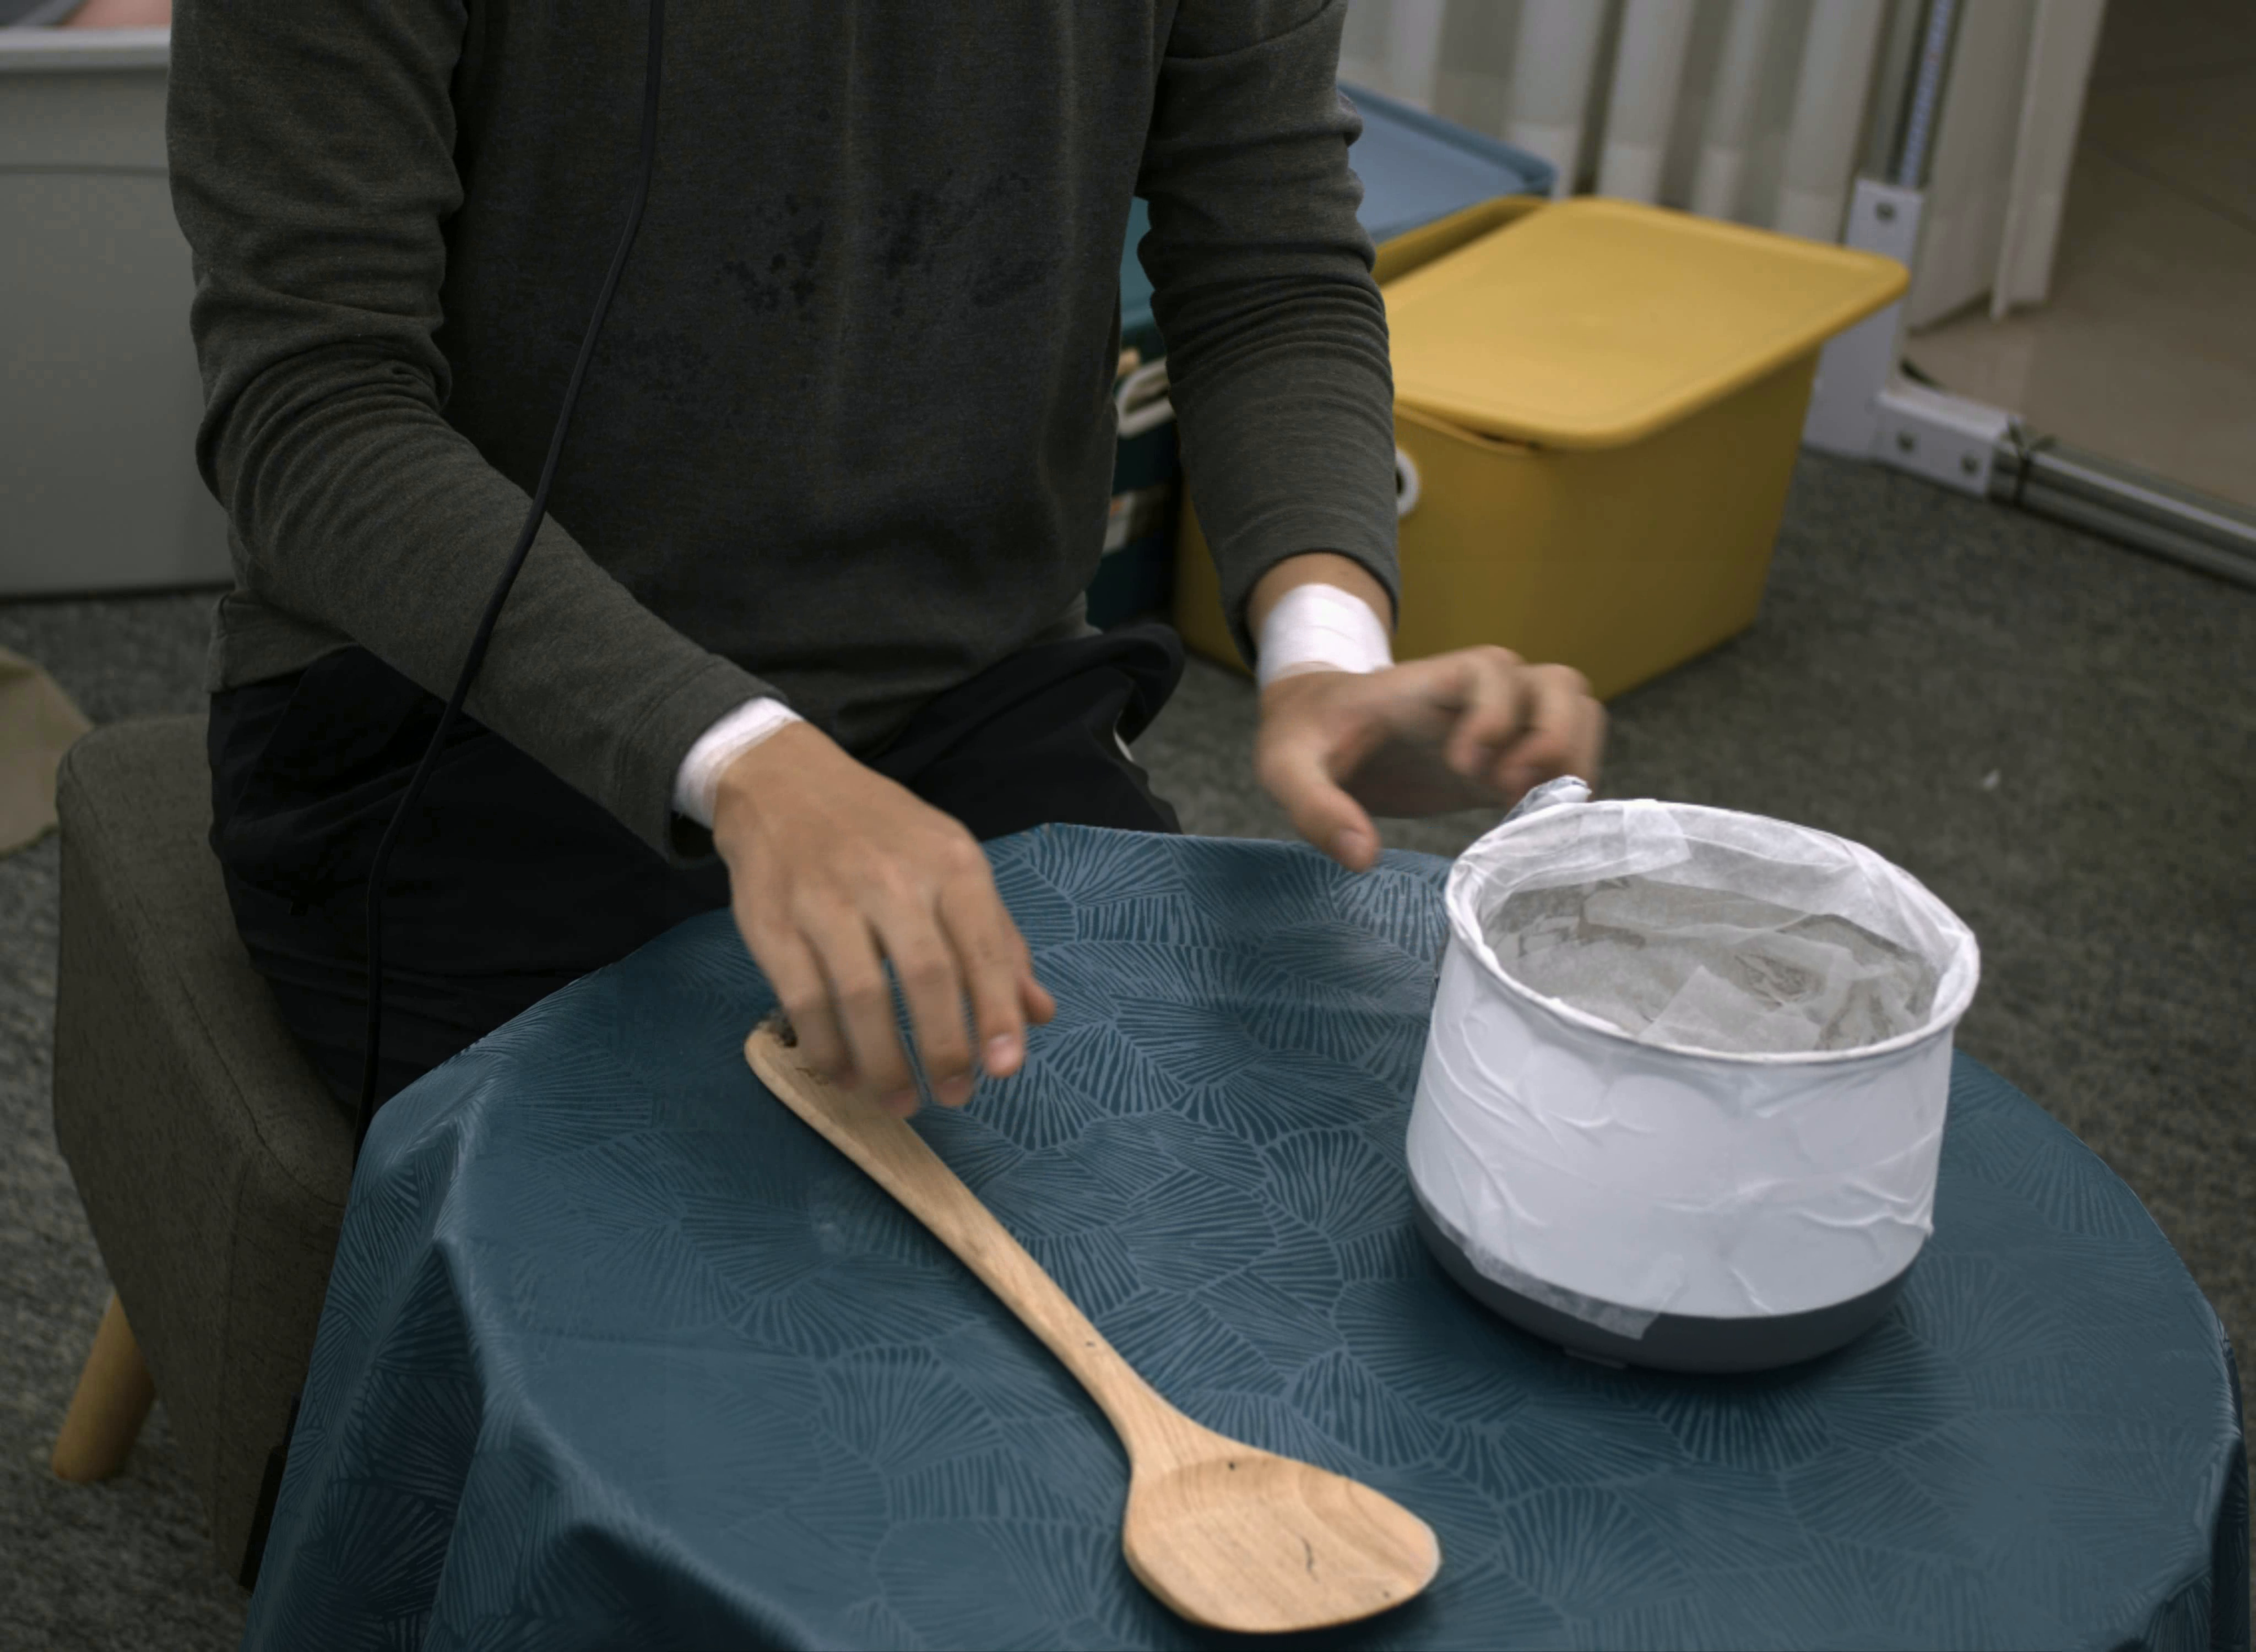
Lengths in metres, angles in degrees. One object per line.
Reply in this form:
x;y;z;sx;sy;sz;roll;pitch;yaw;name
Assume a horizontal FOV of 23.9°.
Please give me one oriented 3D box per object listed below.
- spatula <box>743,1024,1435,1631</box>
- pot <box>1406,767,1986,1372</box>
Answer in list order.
-0.035;0.154;1.718;0.095;0.018;0.394;-8;30;-30;spatula
0.173;0.074;1.788;0.177;0.136;0.236;-6;30;-25;pot
